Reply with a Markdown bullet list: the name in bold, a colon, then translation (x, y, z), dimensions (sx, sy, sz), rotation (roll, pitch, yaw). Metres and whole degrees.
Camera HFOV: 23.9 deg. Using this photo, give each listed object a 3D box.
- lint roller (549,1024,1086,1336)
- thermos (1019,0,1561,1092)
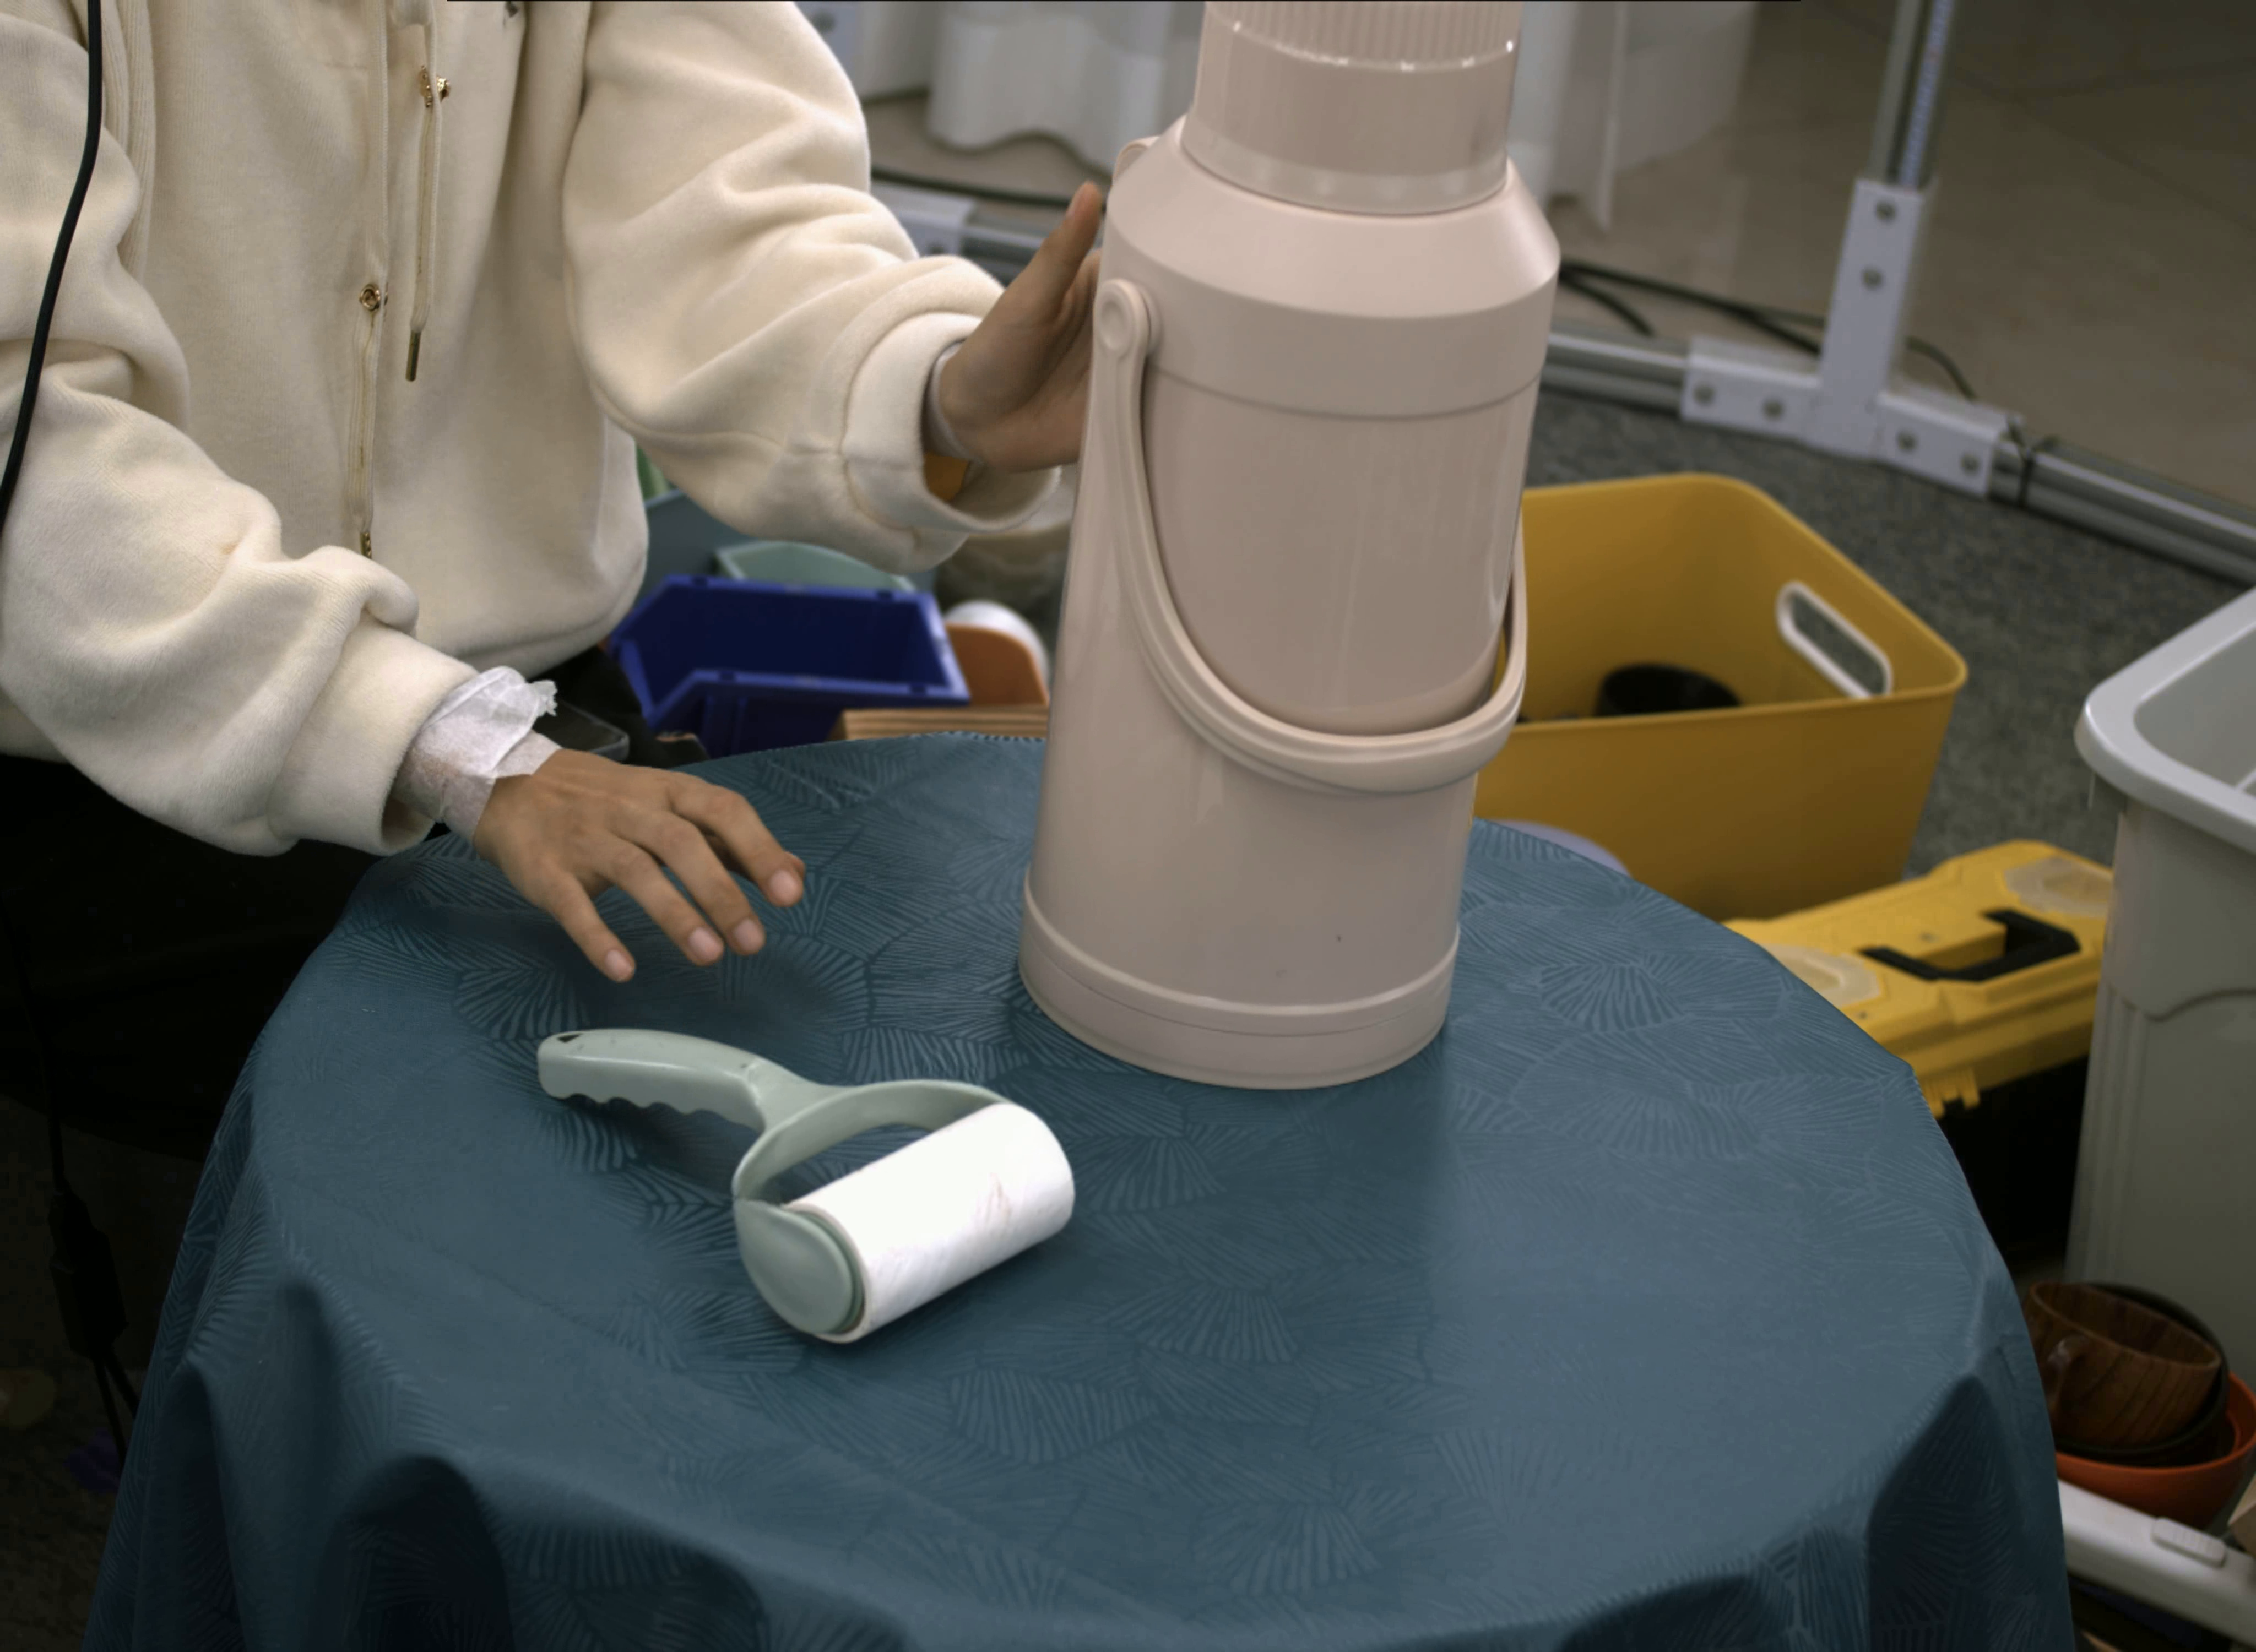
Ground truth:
- **lint roller**: translation (-0.118, 0.098, 1.774), dimensions (0.199, 0.048, 0.116), rotation (27, 36, 33)
- **thermos**: translation (0.053, -0.124, 1.865), dimensions (0.174, 0.405, 0.209), rotation (-11, 31, -31)
